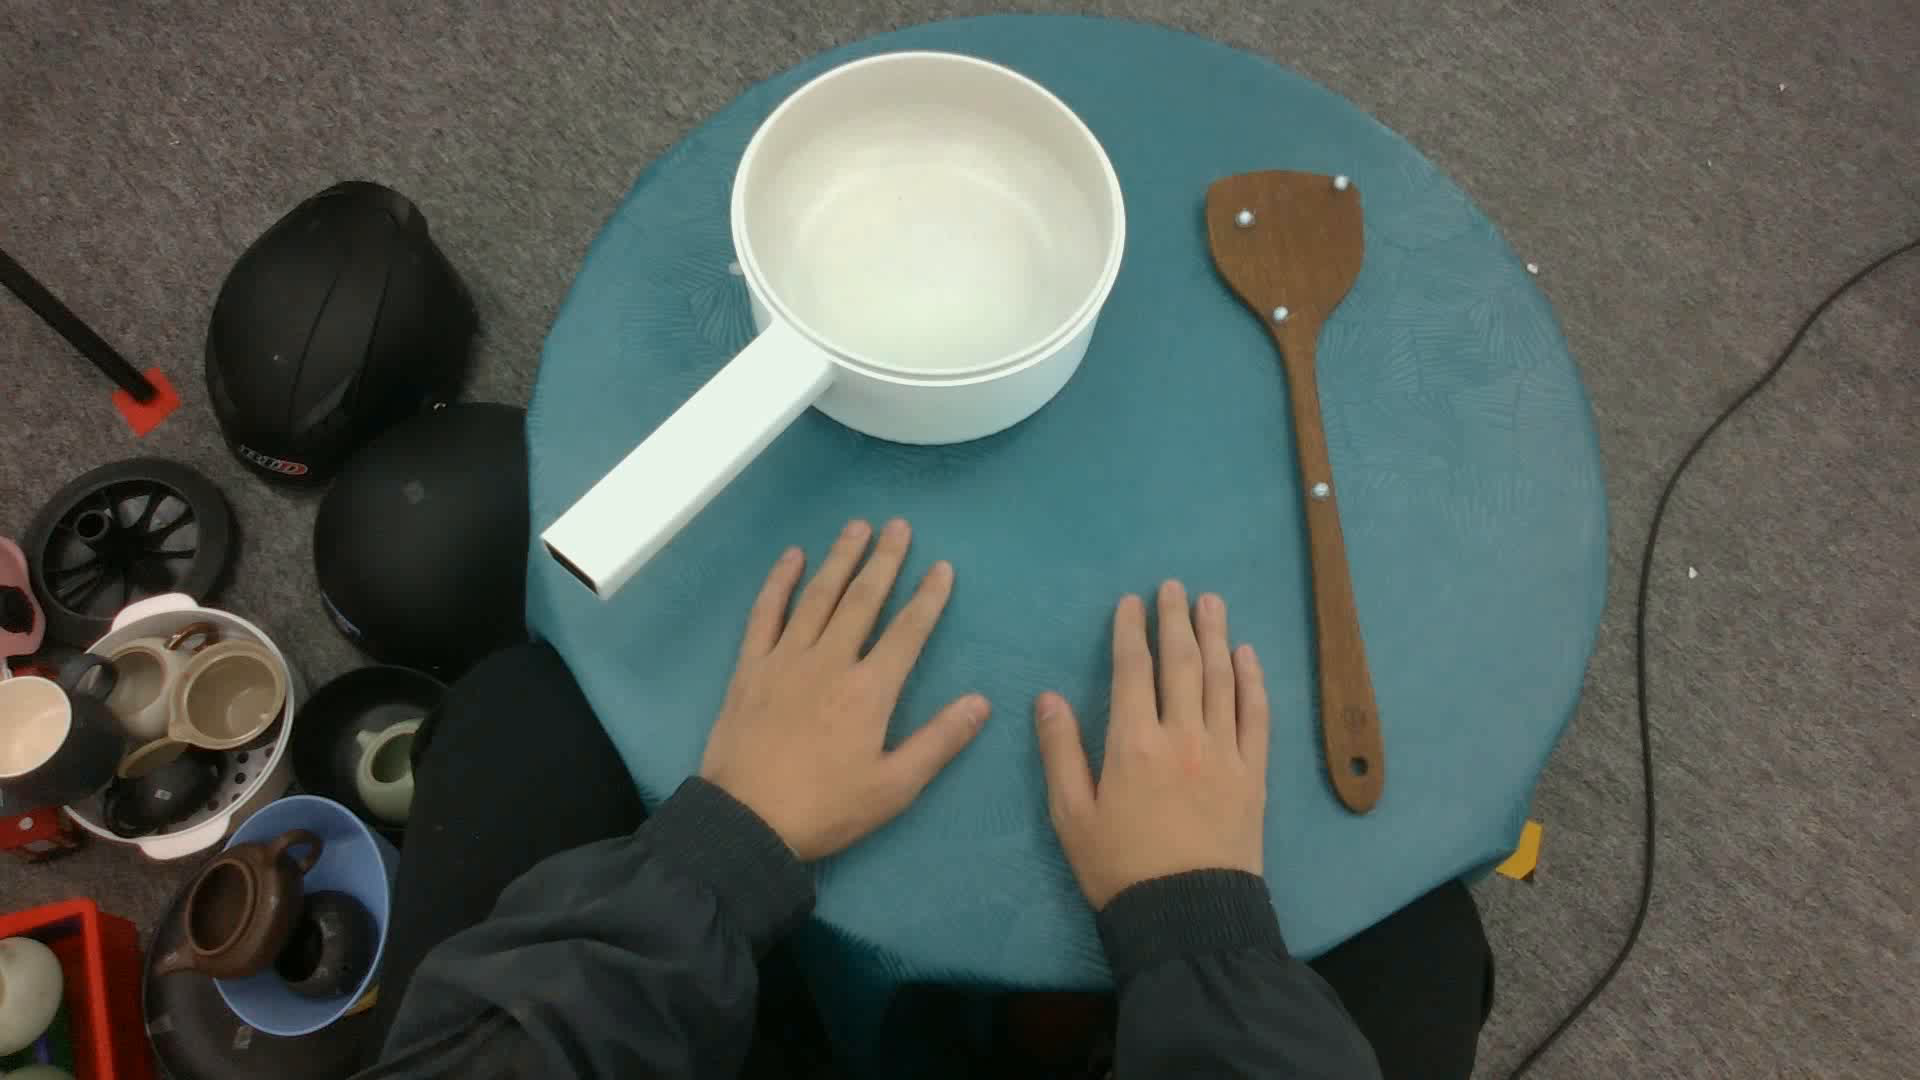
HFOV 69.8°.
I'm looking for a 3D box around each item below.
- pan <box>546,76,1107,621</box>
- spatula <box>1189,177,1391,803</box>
[{"bbox_3d":[-0.071,-0.090,0.736,0.201,0.102,0.356,36,71,11],"label":"pan"},{"bbox_3d":[0.196,-0.045,0.775,0.096,0.016,0.387,-2,67,-3],"label":"spatula"}]
